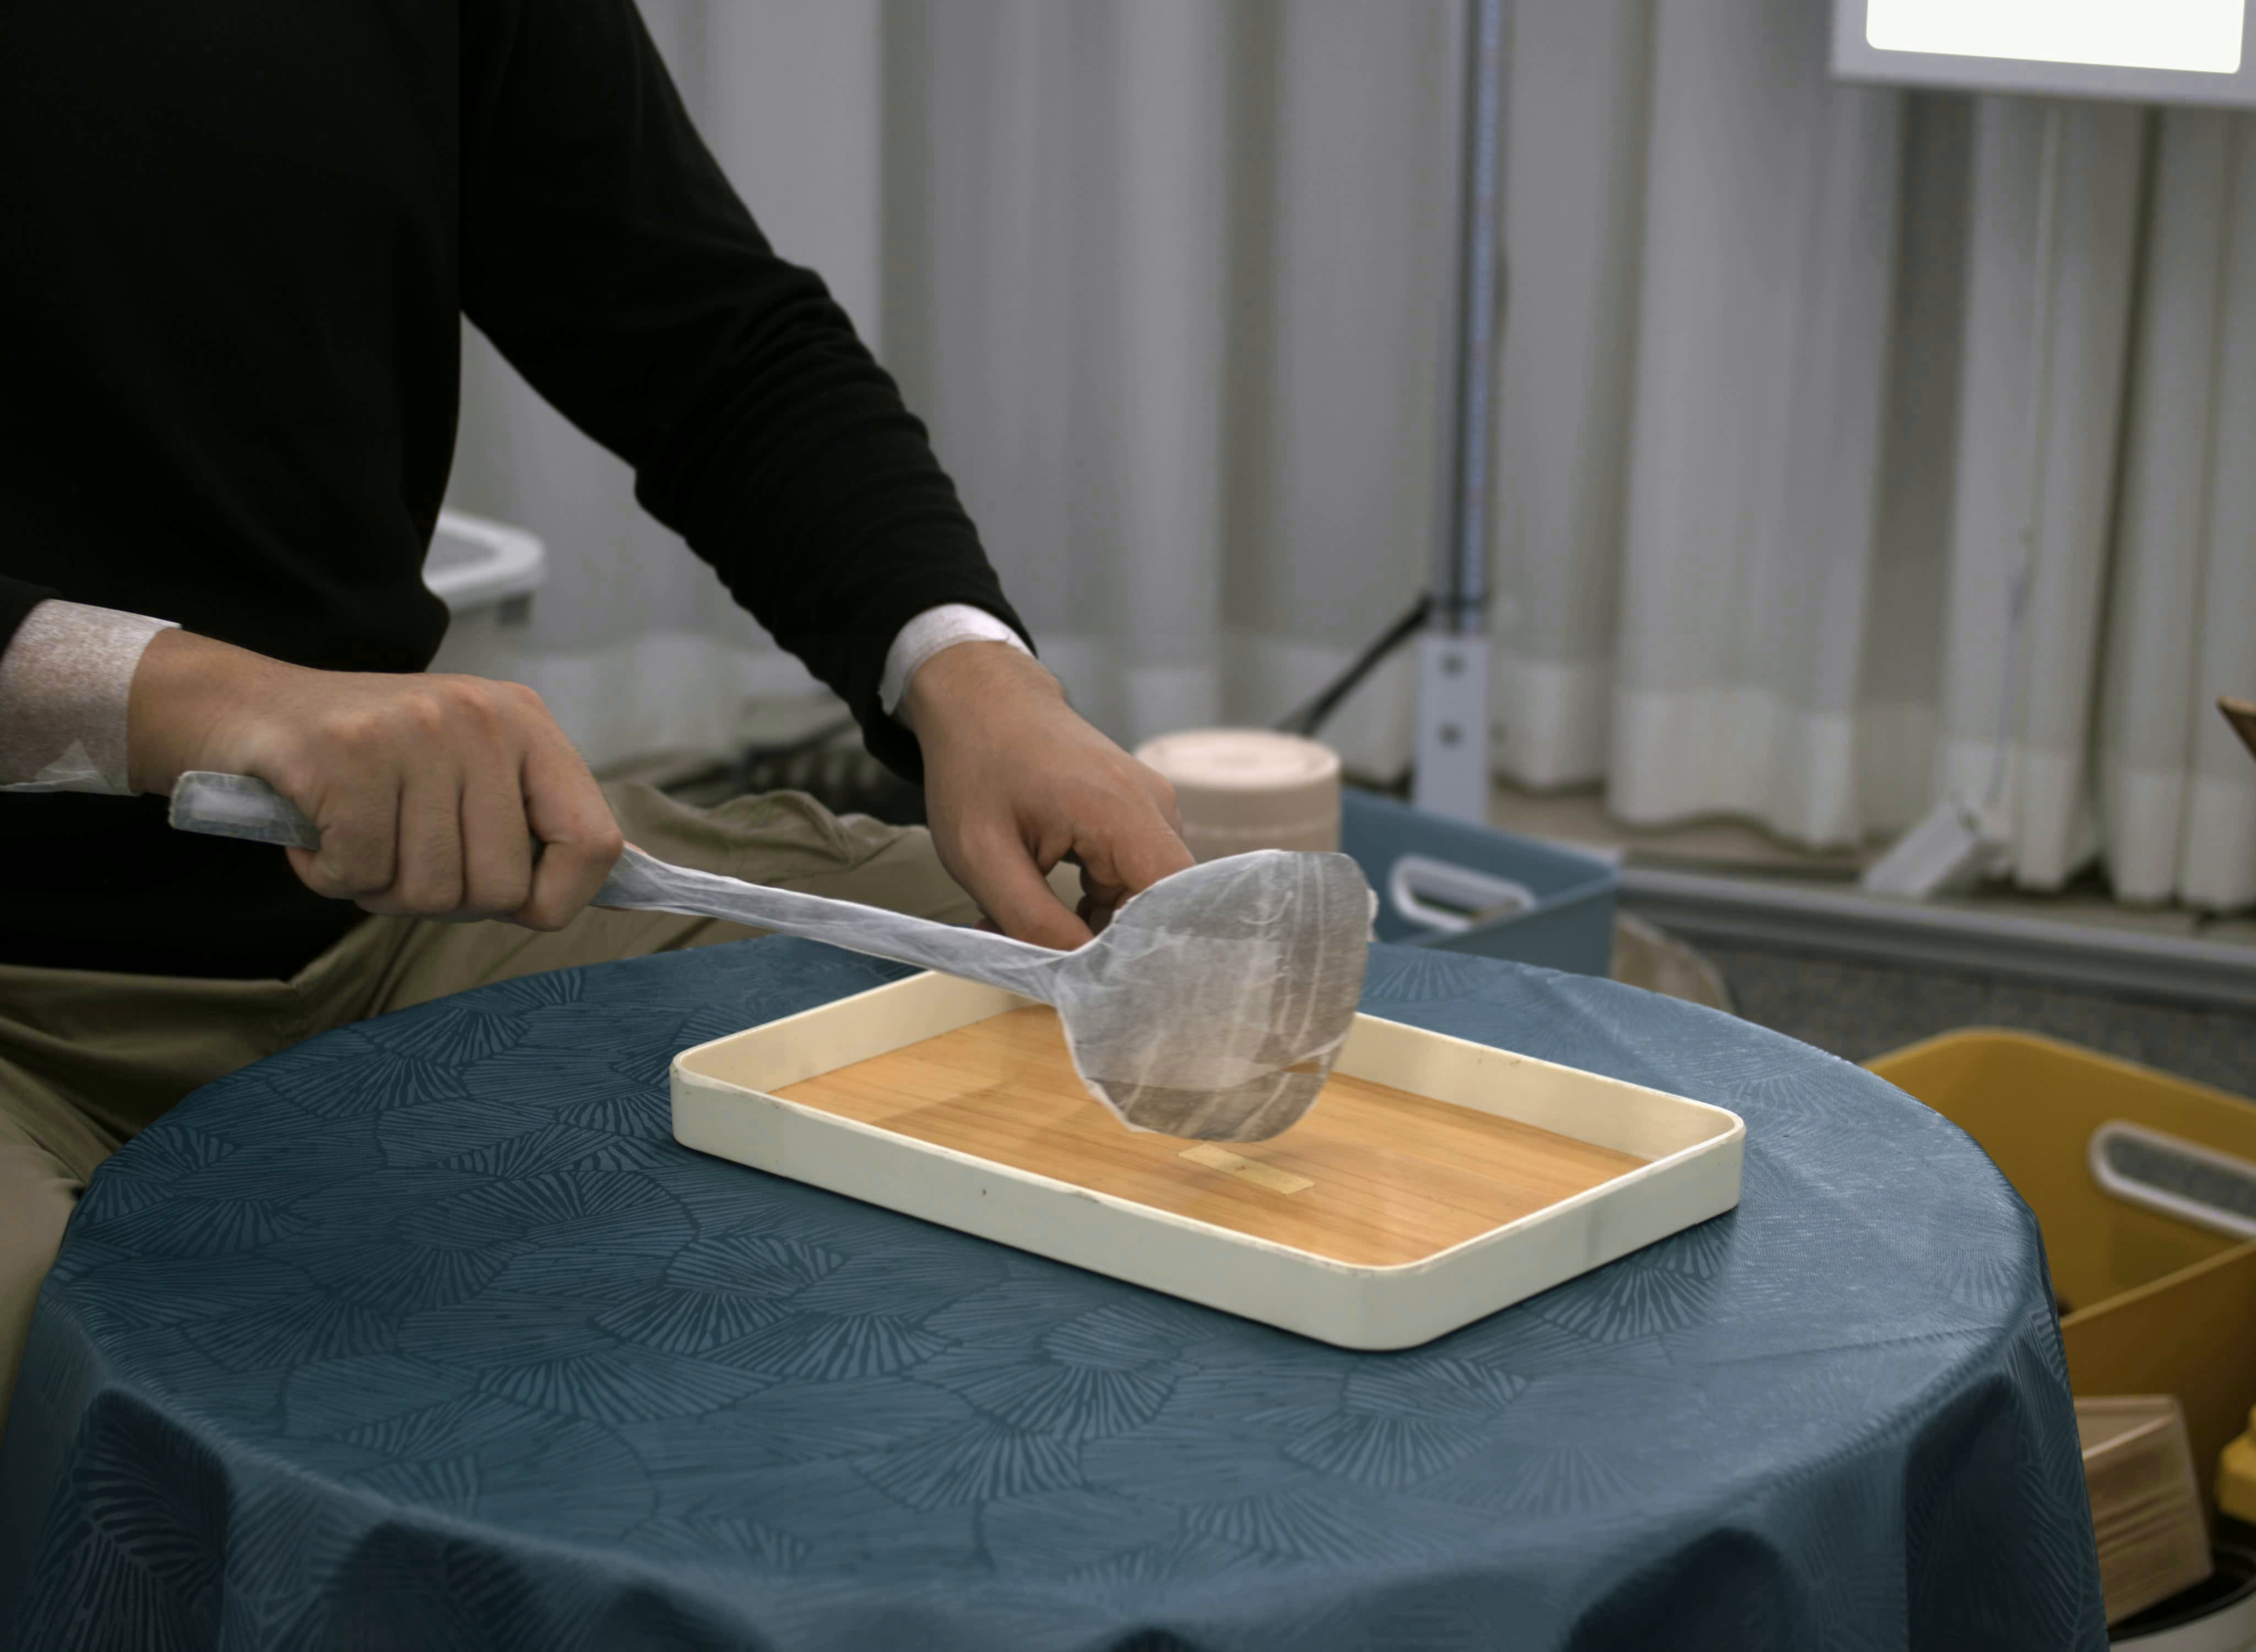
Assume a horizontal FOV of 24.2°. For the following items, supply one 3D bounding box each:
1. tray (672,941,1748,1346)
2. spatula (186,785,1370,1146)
[{"bbox_3d":[0.023,0.094,1.637,0.296,0.027,0.192,13,20,39],"label":"tray"},{"bbox_3d":[-0.098,0.026,1.567,0.366,0.099,0.044,12,17,-15],"label":"spatula"}]
